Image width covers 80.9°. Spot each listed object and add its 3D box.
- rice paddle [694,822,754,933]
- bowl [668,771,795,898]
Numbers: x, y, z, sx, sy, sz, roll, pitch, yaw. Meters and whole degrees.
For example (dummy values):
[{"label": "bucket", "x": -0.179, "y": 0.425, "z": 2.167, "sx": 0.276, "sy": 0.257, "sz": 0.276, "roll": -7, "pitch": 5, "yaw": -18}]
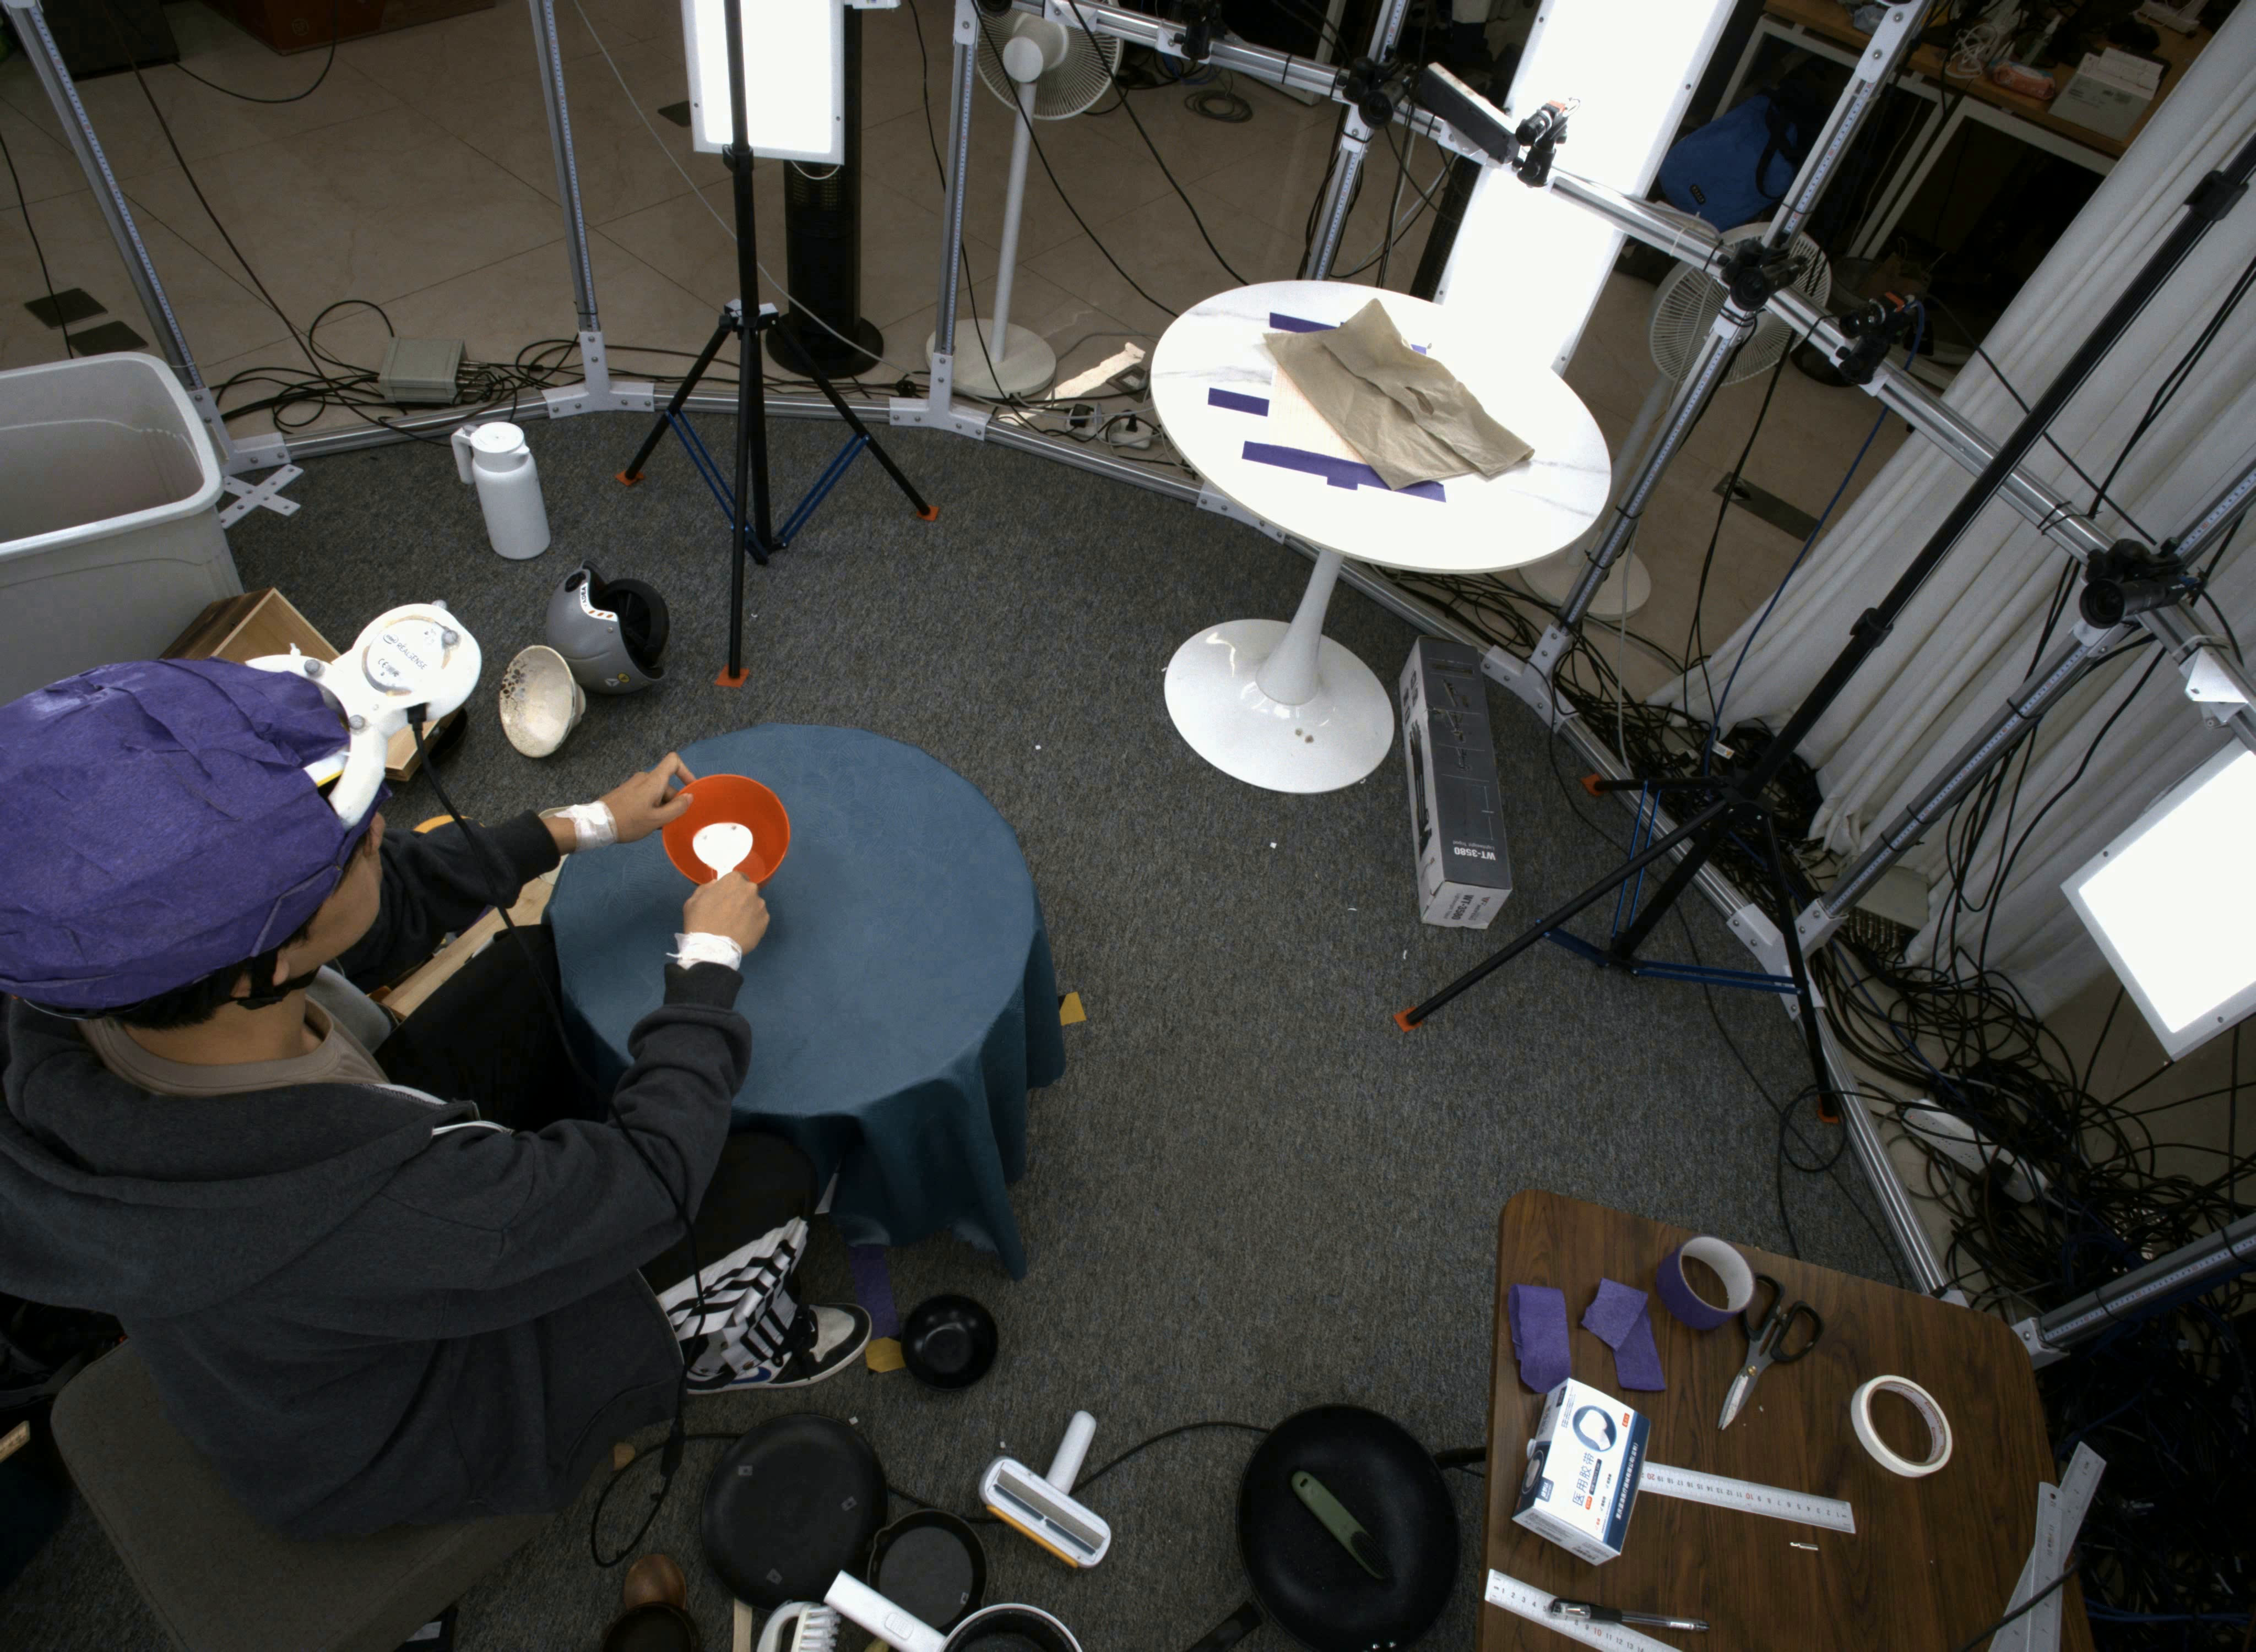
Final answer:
[{"label": "rice paddle", "x": -0.459, "y": 0.047, "z": 1.477, "sx": 0.069, "sy": 0.030, "sz": 0.198, "roll": -5, "pitch": 36, "yaw": -18}, {"label": "bowl", "x": -0.479, "y": 0.022, "z": 1.574, "sx": 0.148, "sy": 0.106, "sz": 0.146, "roll": 7, "pitch": 59, "yaw": -10}]
